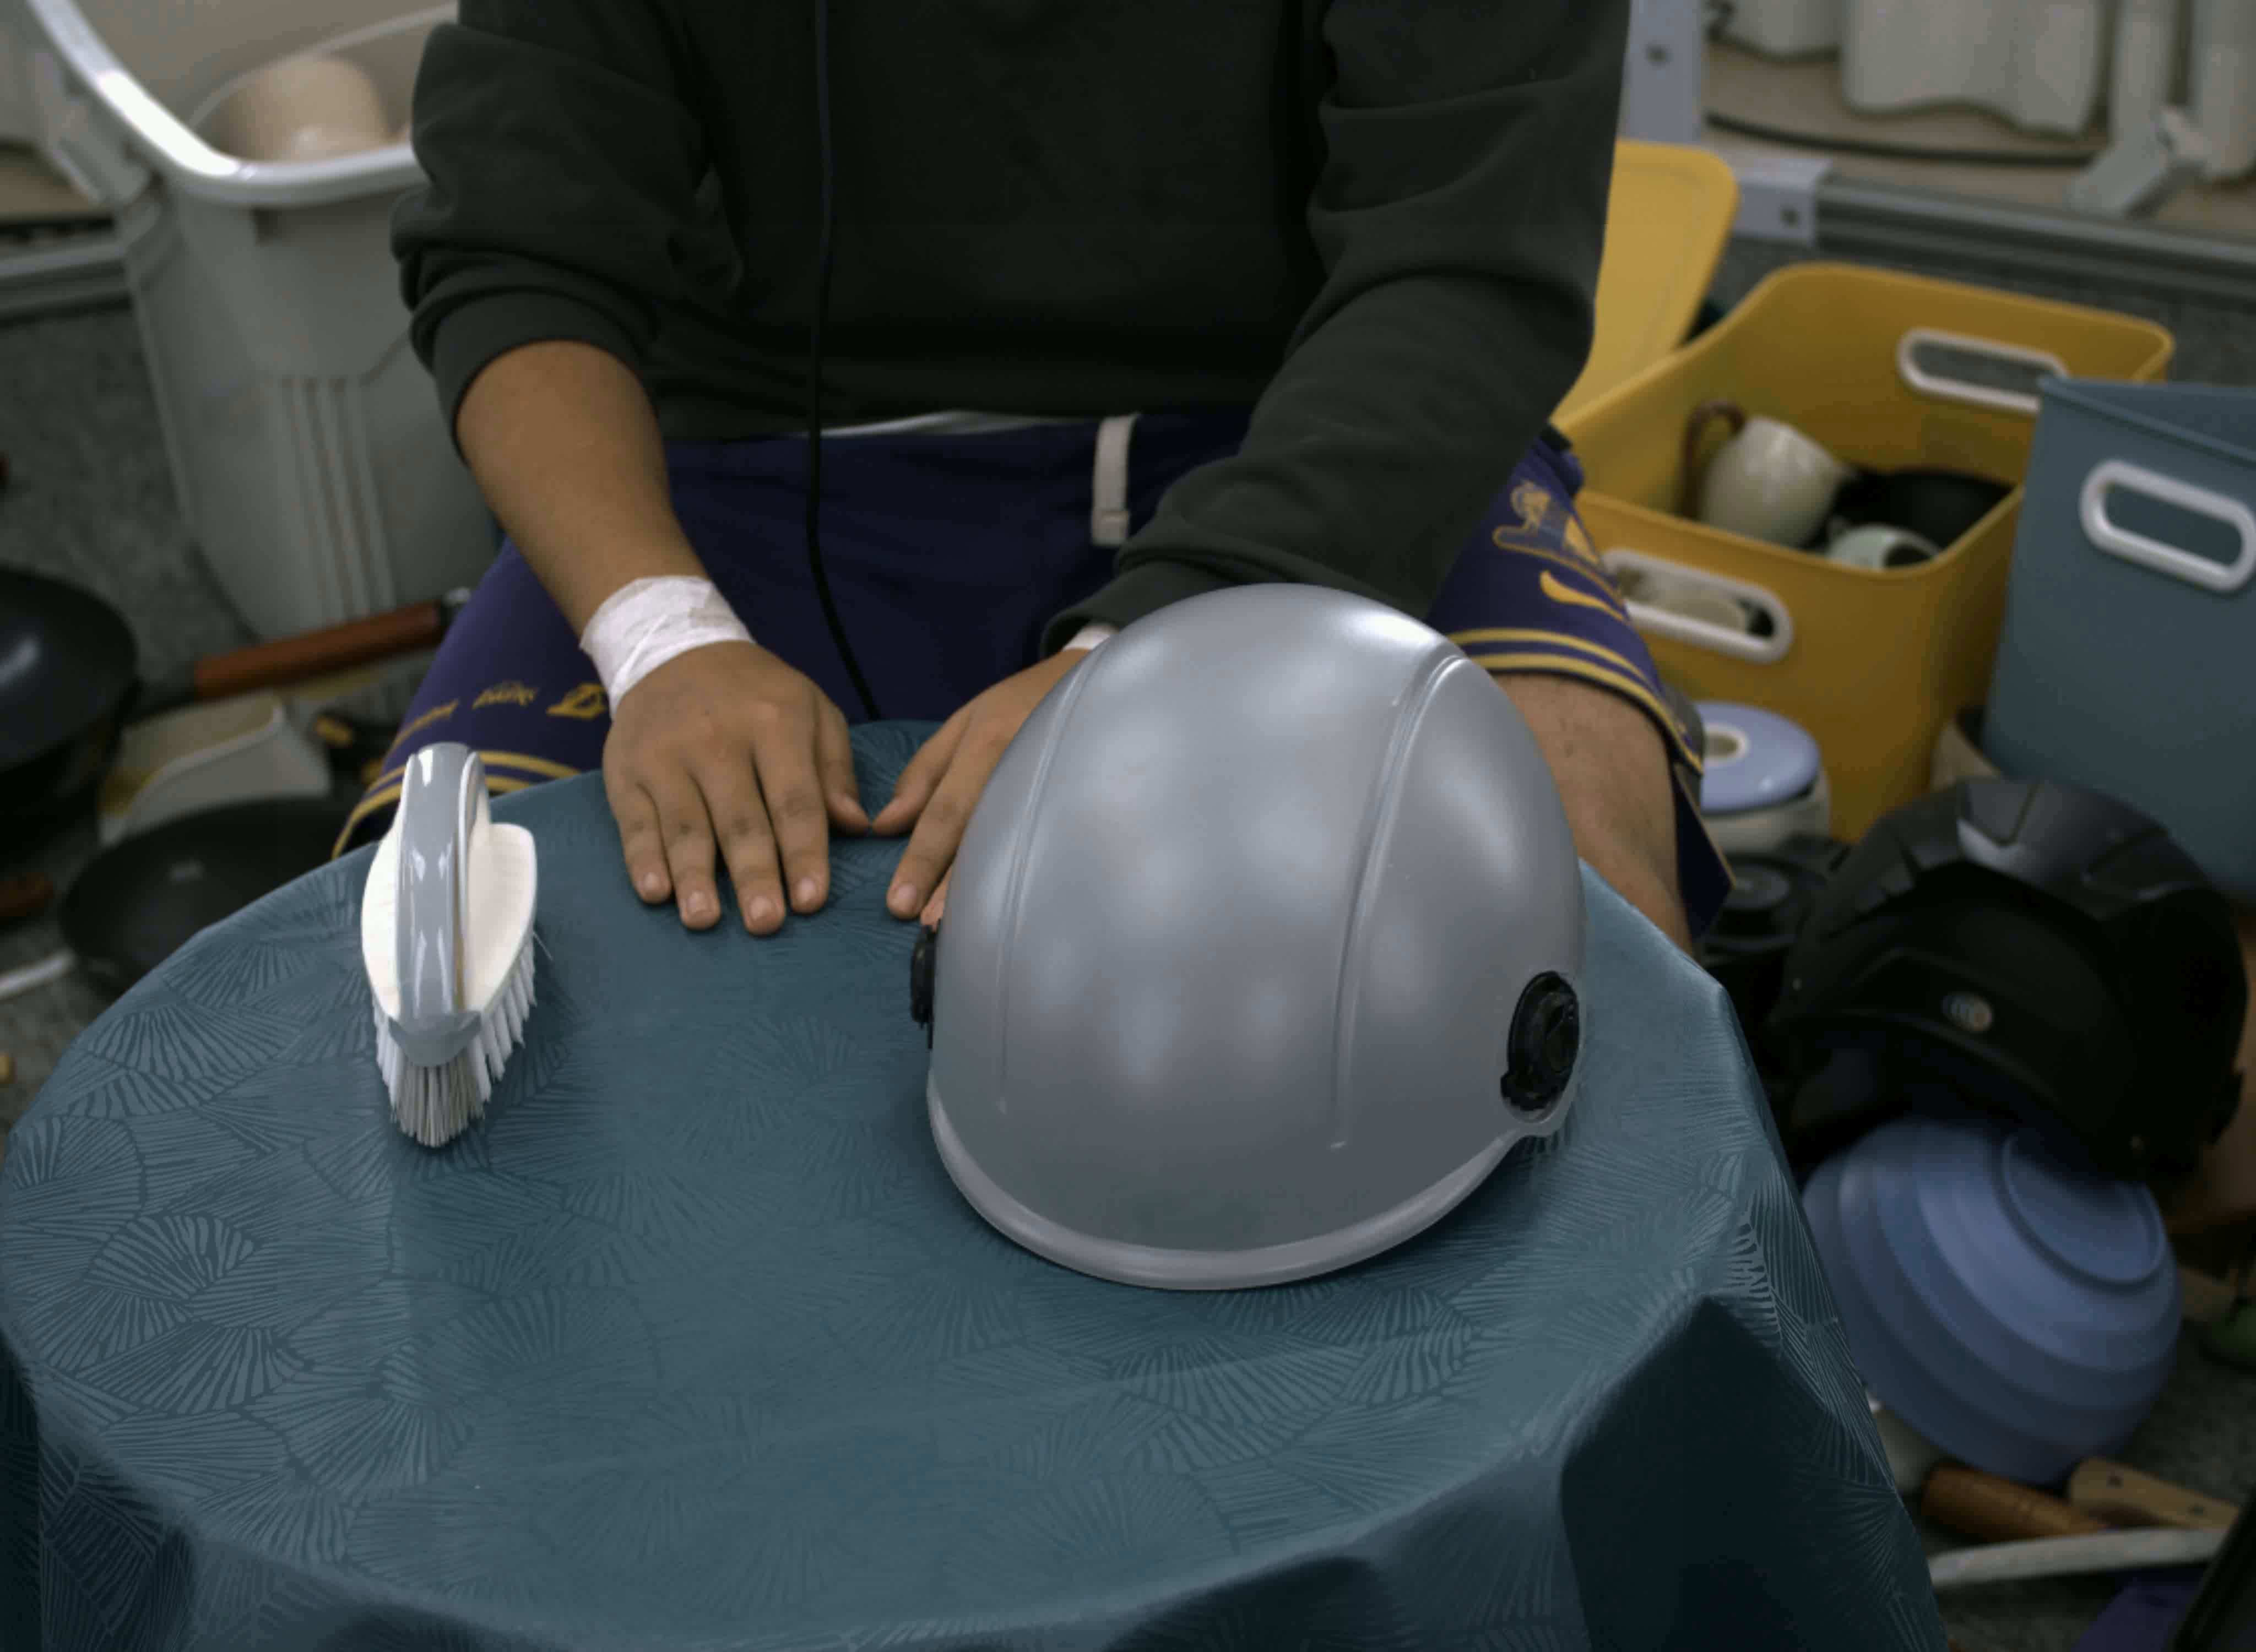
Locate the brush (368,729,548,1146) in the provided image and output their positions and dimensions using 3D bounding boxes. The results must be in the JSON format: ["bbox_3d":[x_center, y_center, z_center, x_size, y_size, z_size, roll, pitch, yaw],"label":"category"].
[{"bbox_3d":[-0.237,0.031,1.963,0.061,0.093,0.178,-5,30,0],"label":"brush"}]

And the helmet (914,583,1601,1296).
[{"bbox_3d":[0.043,0.016,1.887,0.230,0.167,0.281,4,30,16],"label":"helmet"}]
